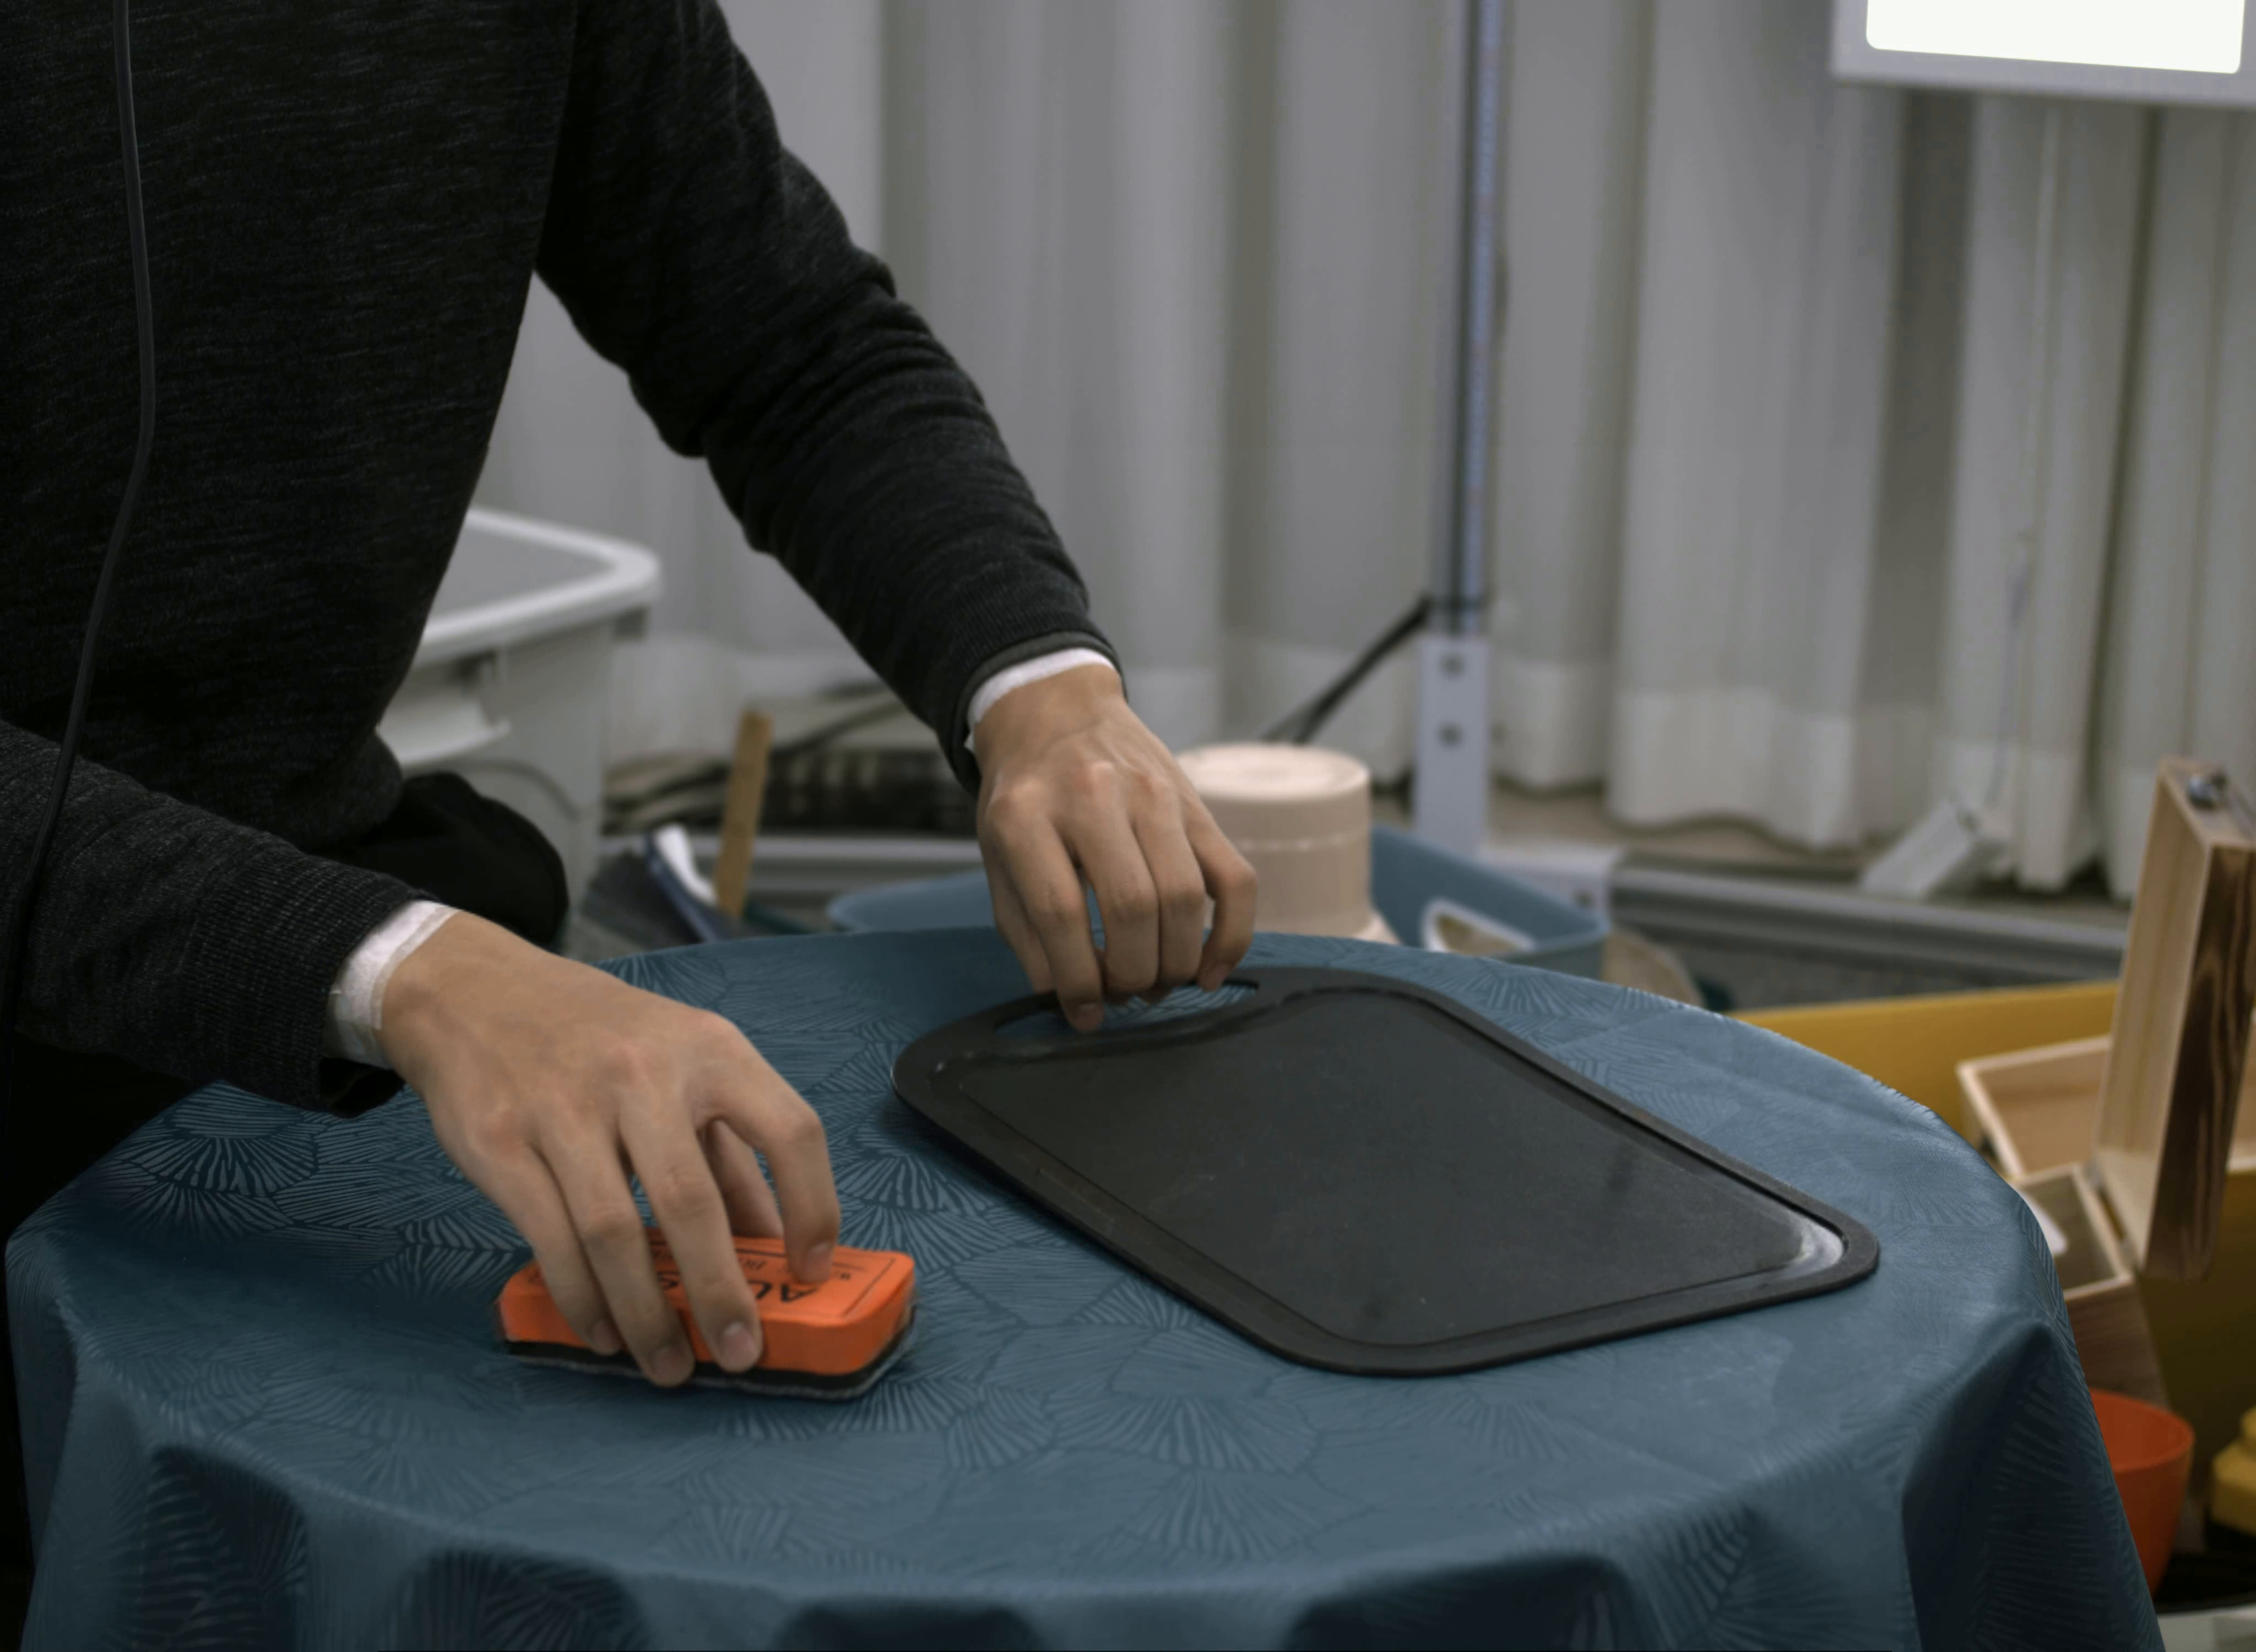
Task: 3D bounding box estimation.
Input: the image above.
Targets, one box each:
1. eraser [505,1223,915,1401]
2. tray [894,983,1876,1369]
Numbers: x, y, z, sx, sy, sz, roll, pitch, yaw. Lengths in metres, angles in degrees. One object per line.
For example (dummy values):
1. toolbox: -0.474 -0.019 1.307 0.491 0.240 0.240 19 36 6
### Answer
1. eraser: -0.117 0.136 1.480 0.107 0.023 0.059 6 16 19
2. tray: 0.069 0.100 1.637 0.212 0.010 0.321 -8 20 -29
